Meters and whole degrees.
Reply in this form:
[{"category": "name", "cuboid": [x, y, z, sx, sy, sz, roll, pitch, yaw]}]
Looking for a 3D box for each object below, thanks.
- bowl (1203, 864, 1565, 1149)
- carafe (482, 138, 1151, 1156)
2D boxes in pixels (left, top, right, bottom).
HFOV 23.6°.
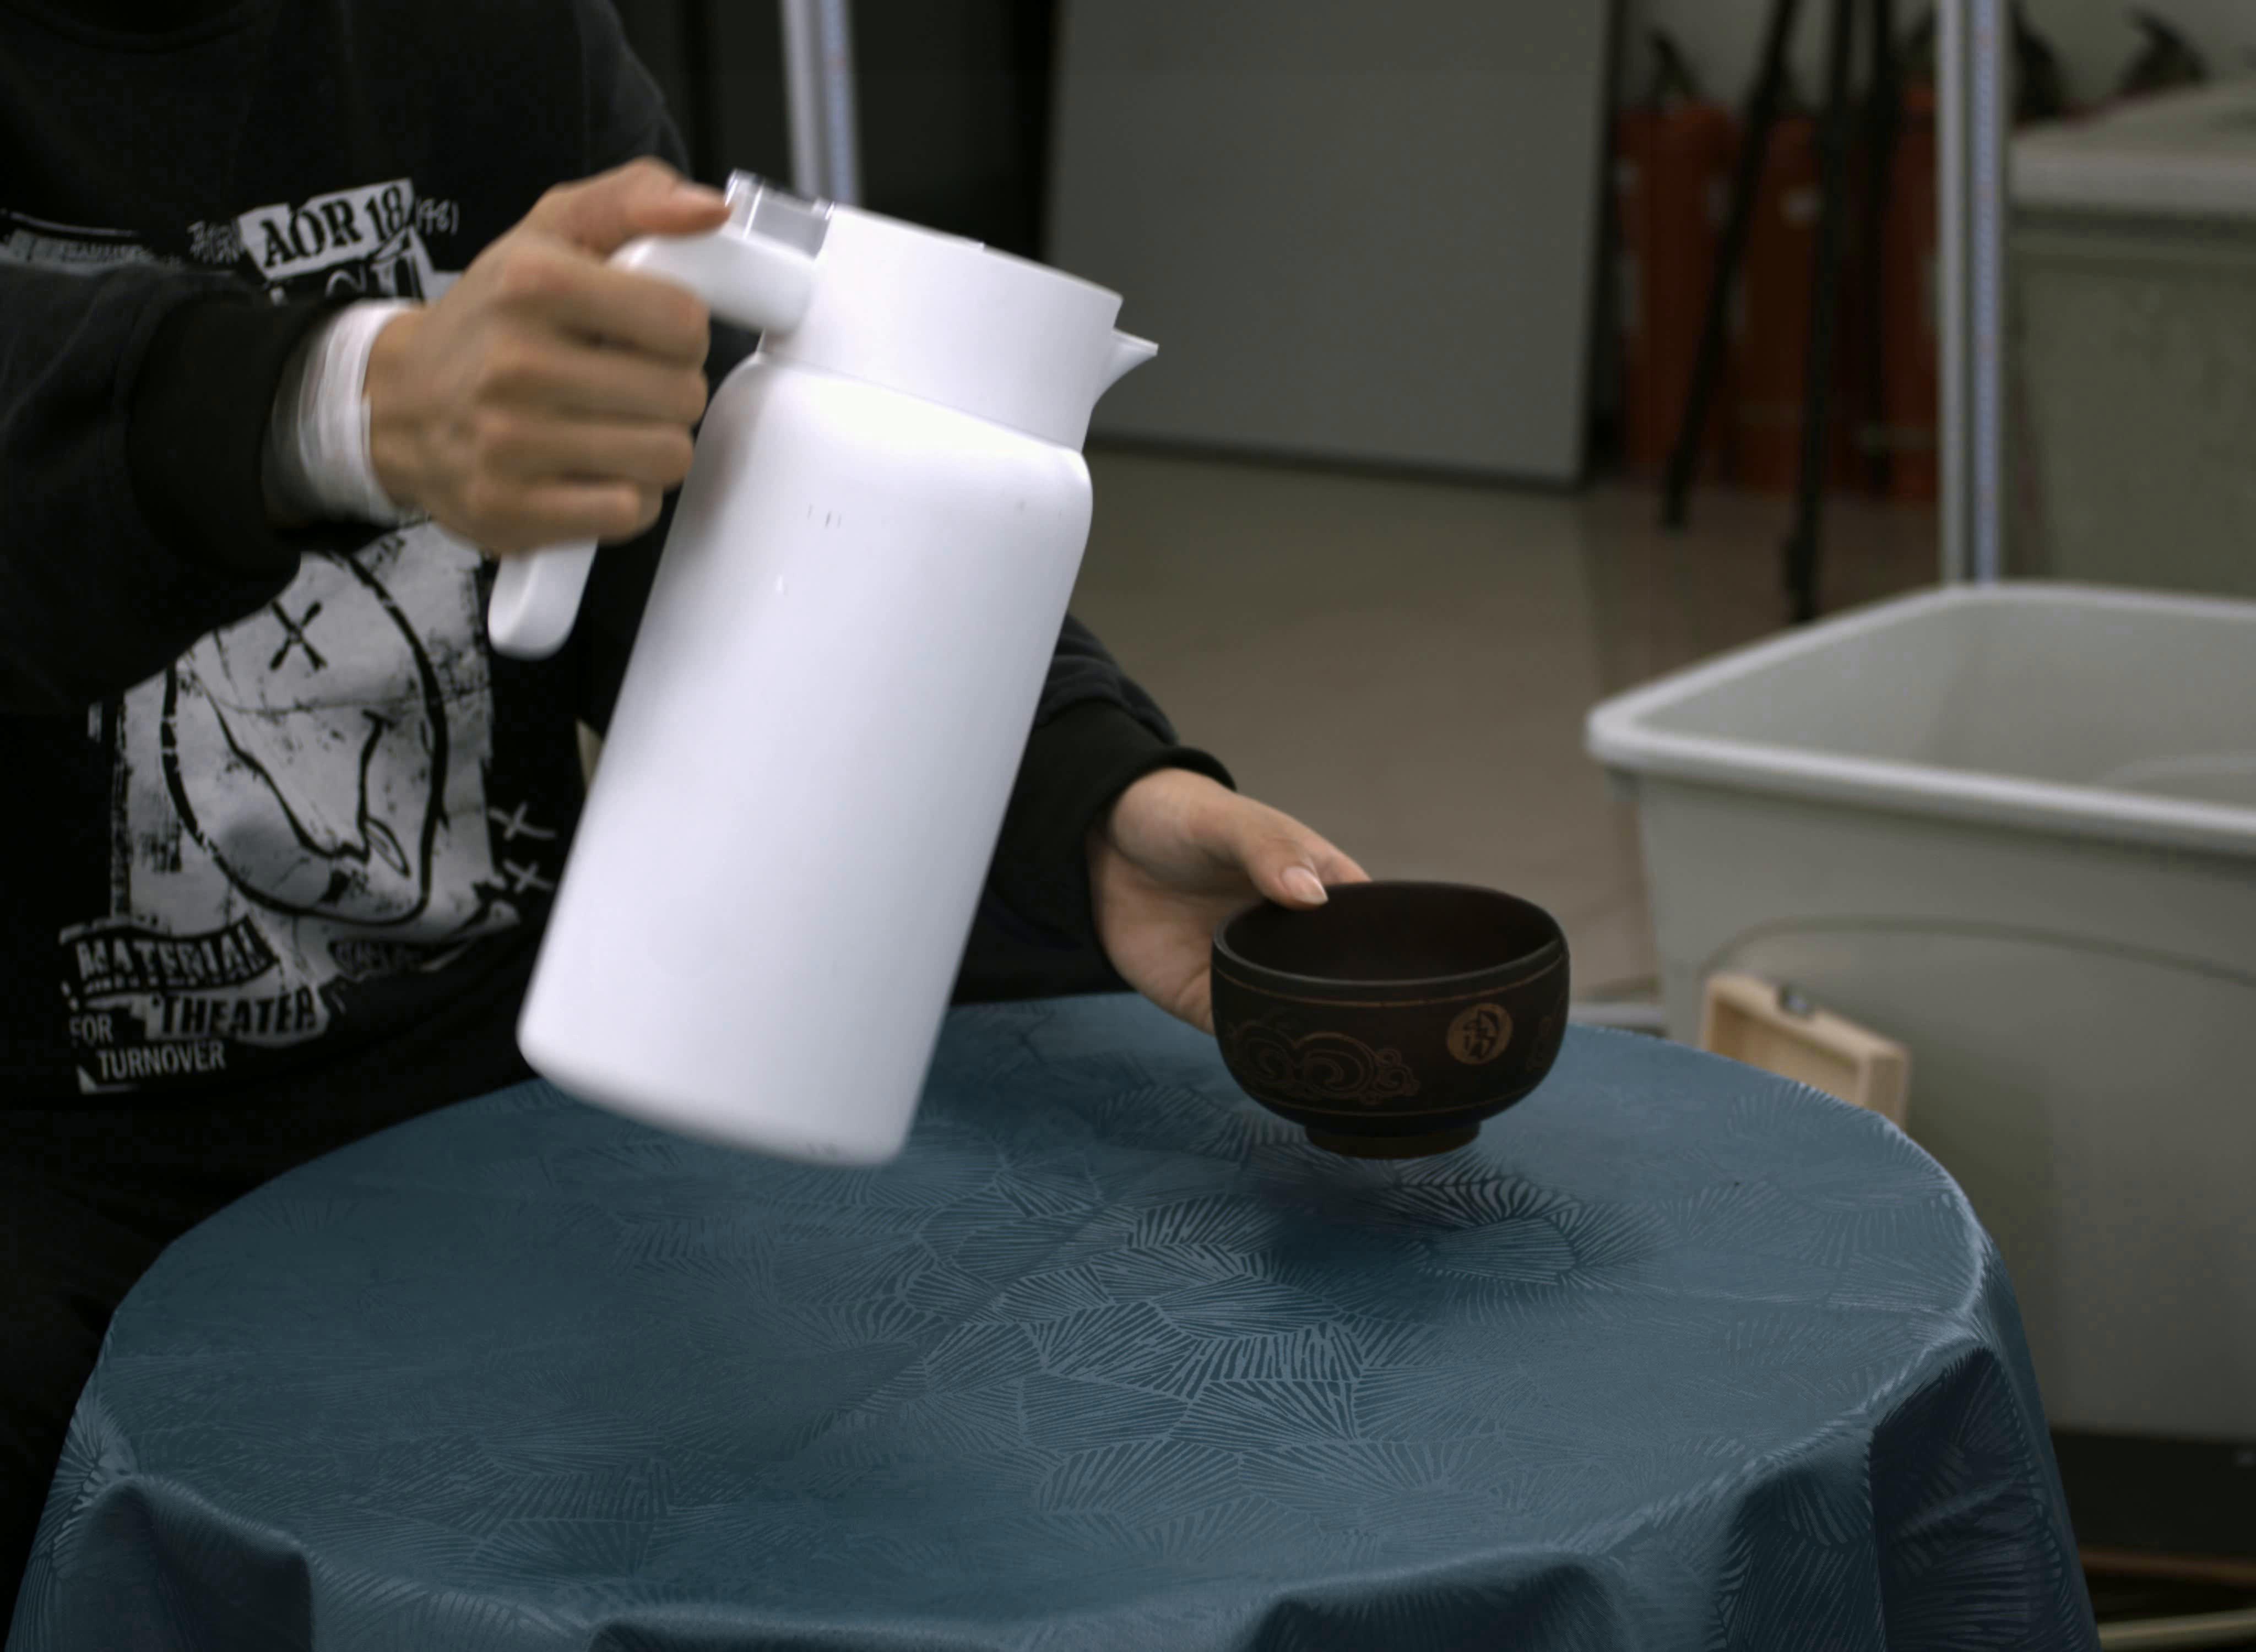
[{"category": "bowl", "cuboid": [0.083, 0.062, 1.726, 0.116, 0.070, 0.118, -4, 15, 0]}, {"category": "carafe", "cuboid": [-0.102, -0.052, 1.547, 0.169, 0.272, 0.125, 17, 3, -27]}]
